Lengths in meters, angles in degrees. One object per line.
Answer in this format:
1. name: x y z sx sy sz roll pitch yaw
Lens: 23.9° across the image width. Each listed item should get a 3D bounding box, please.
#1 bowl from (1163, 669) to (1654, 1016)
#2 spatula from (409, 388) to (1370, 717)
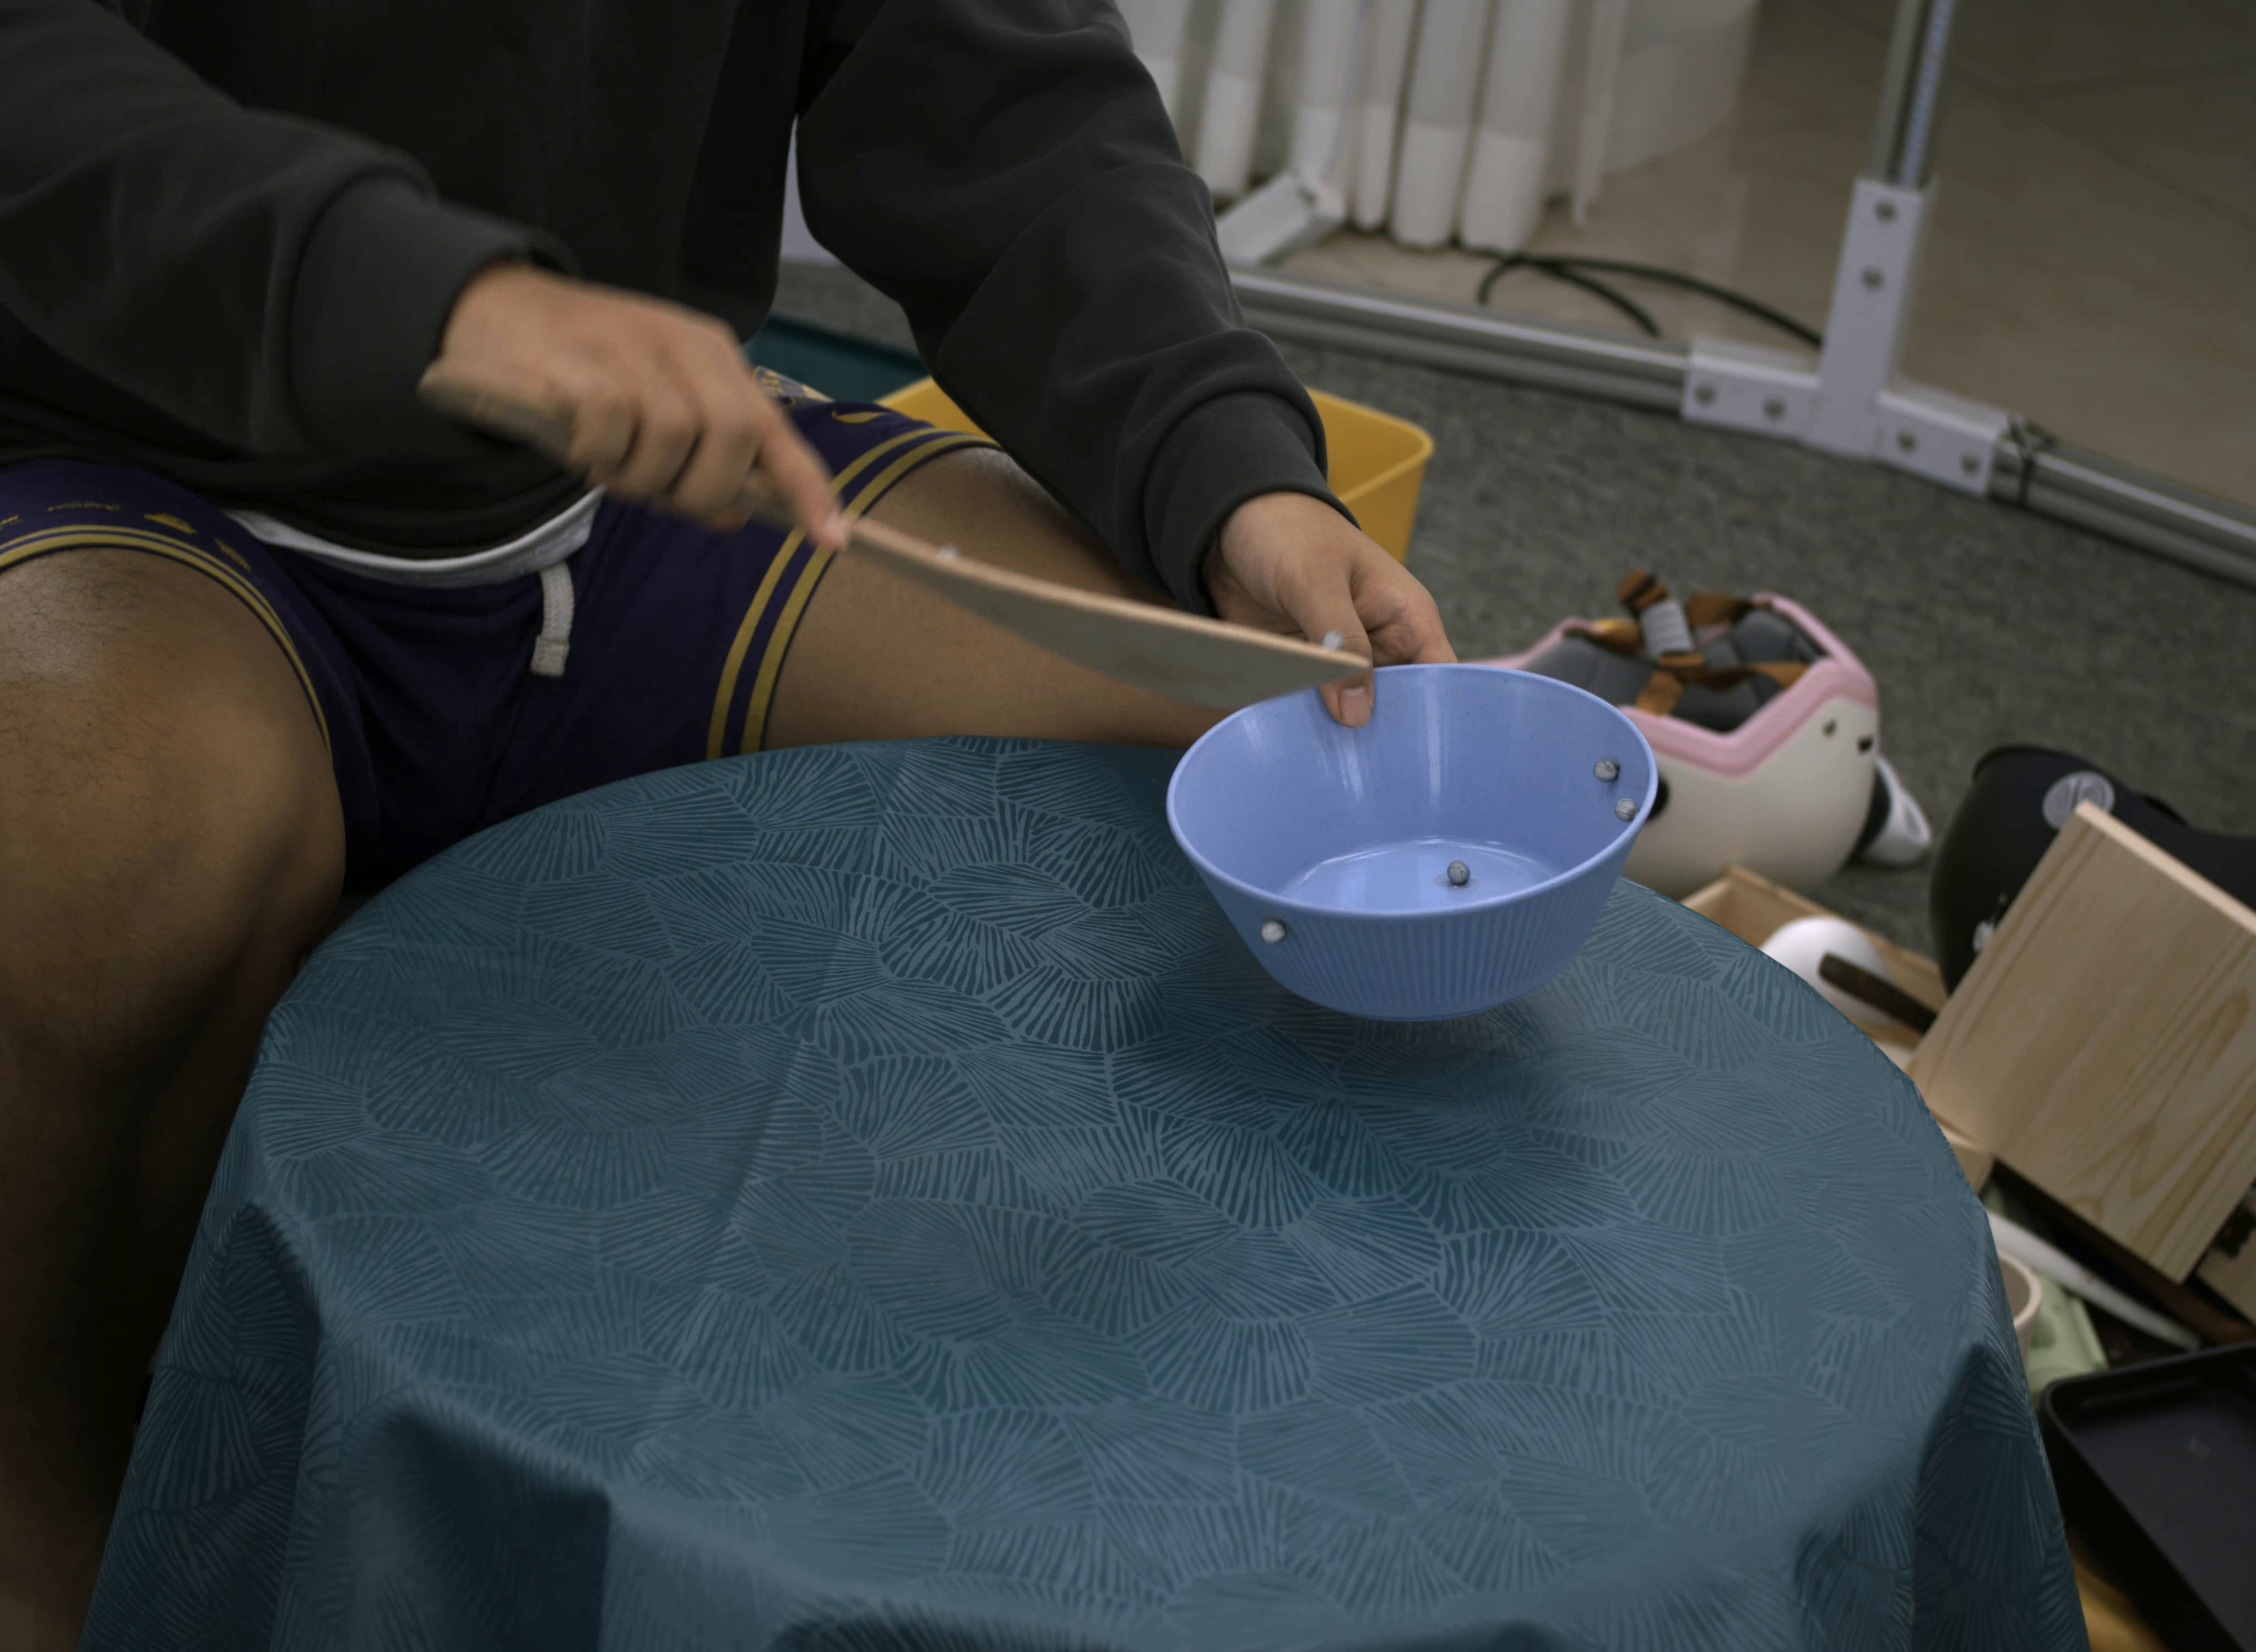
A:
1. bowl: 0.102 0.012 1.914 0.175 0.070 0.177 -5 29 2
2. spatula: -0.080 -0.088 1.731 0.325 0.016 0.080 19 -20 -19
